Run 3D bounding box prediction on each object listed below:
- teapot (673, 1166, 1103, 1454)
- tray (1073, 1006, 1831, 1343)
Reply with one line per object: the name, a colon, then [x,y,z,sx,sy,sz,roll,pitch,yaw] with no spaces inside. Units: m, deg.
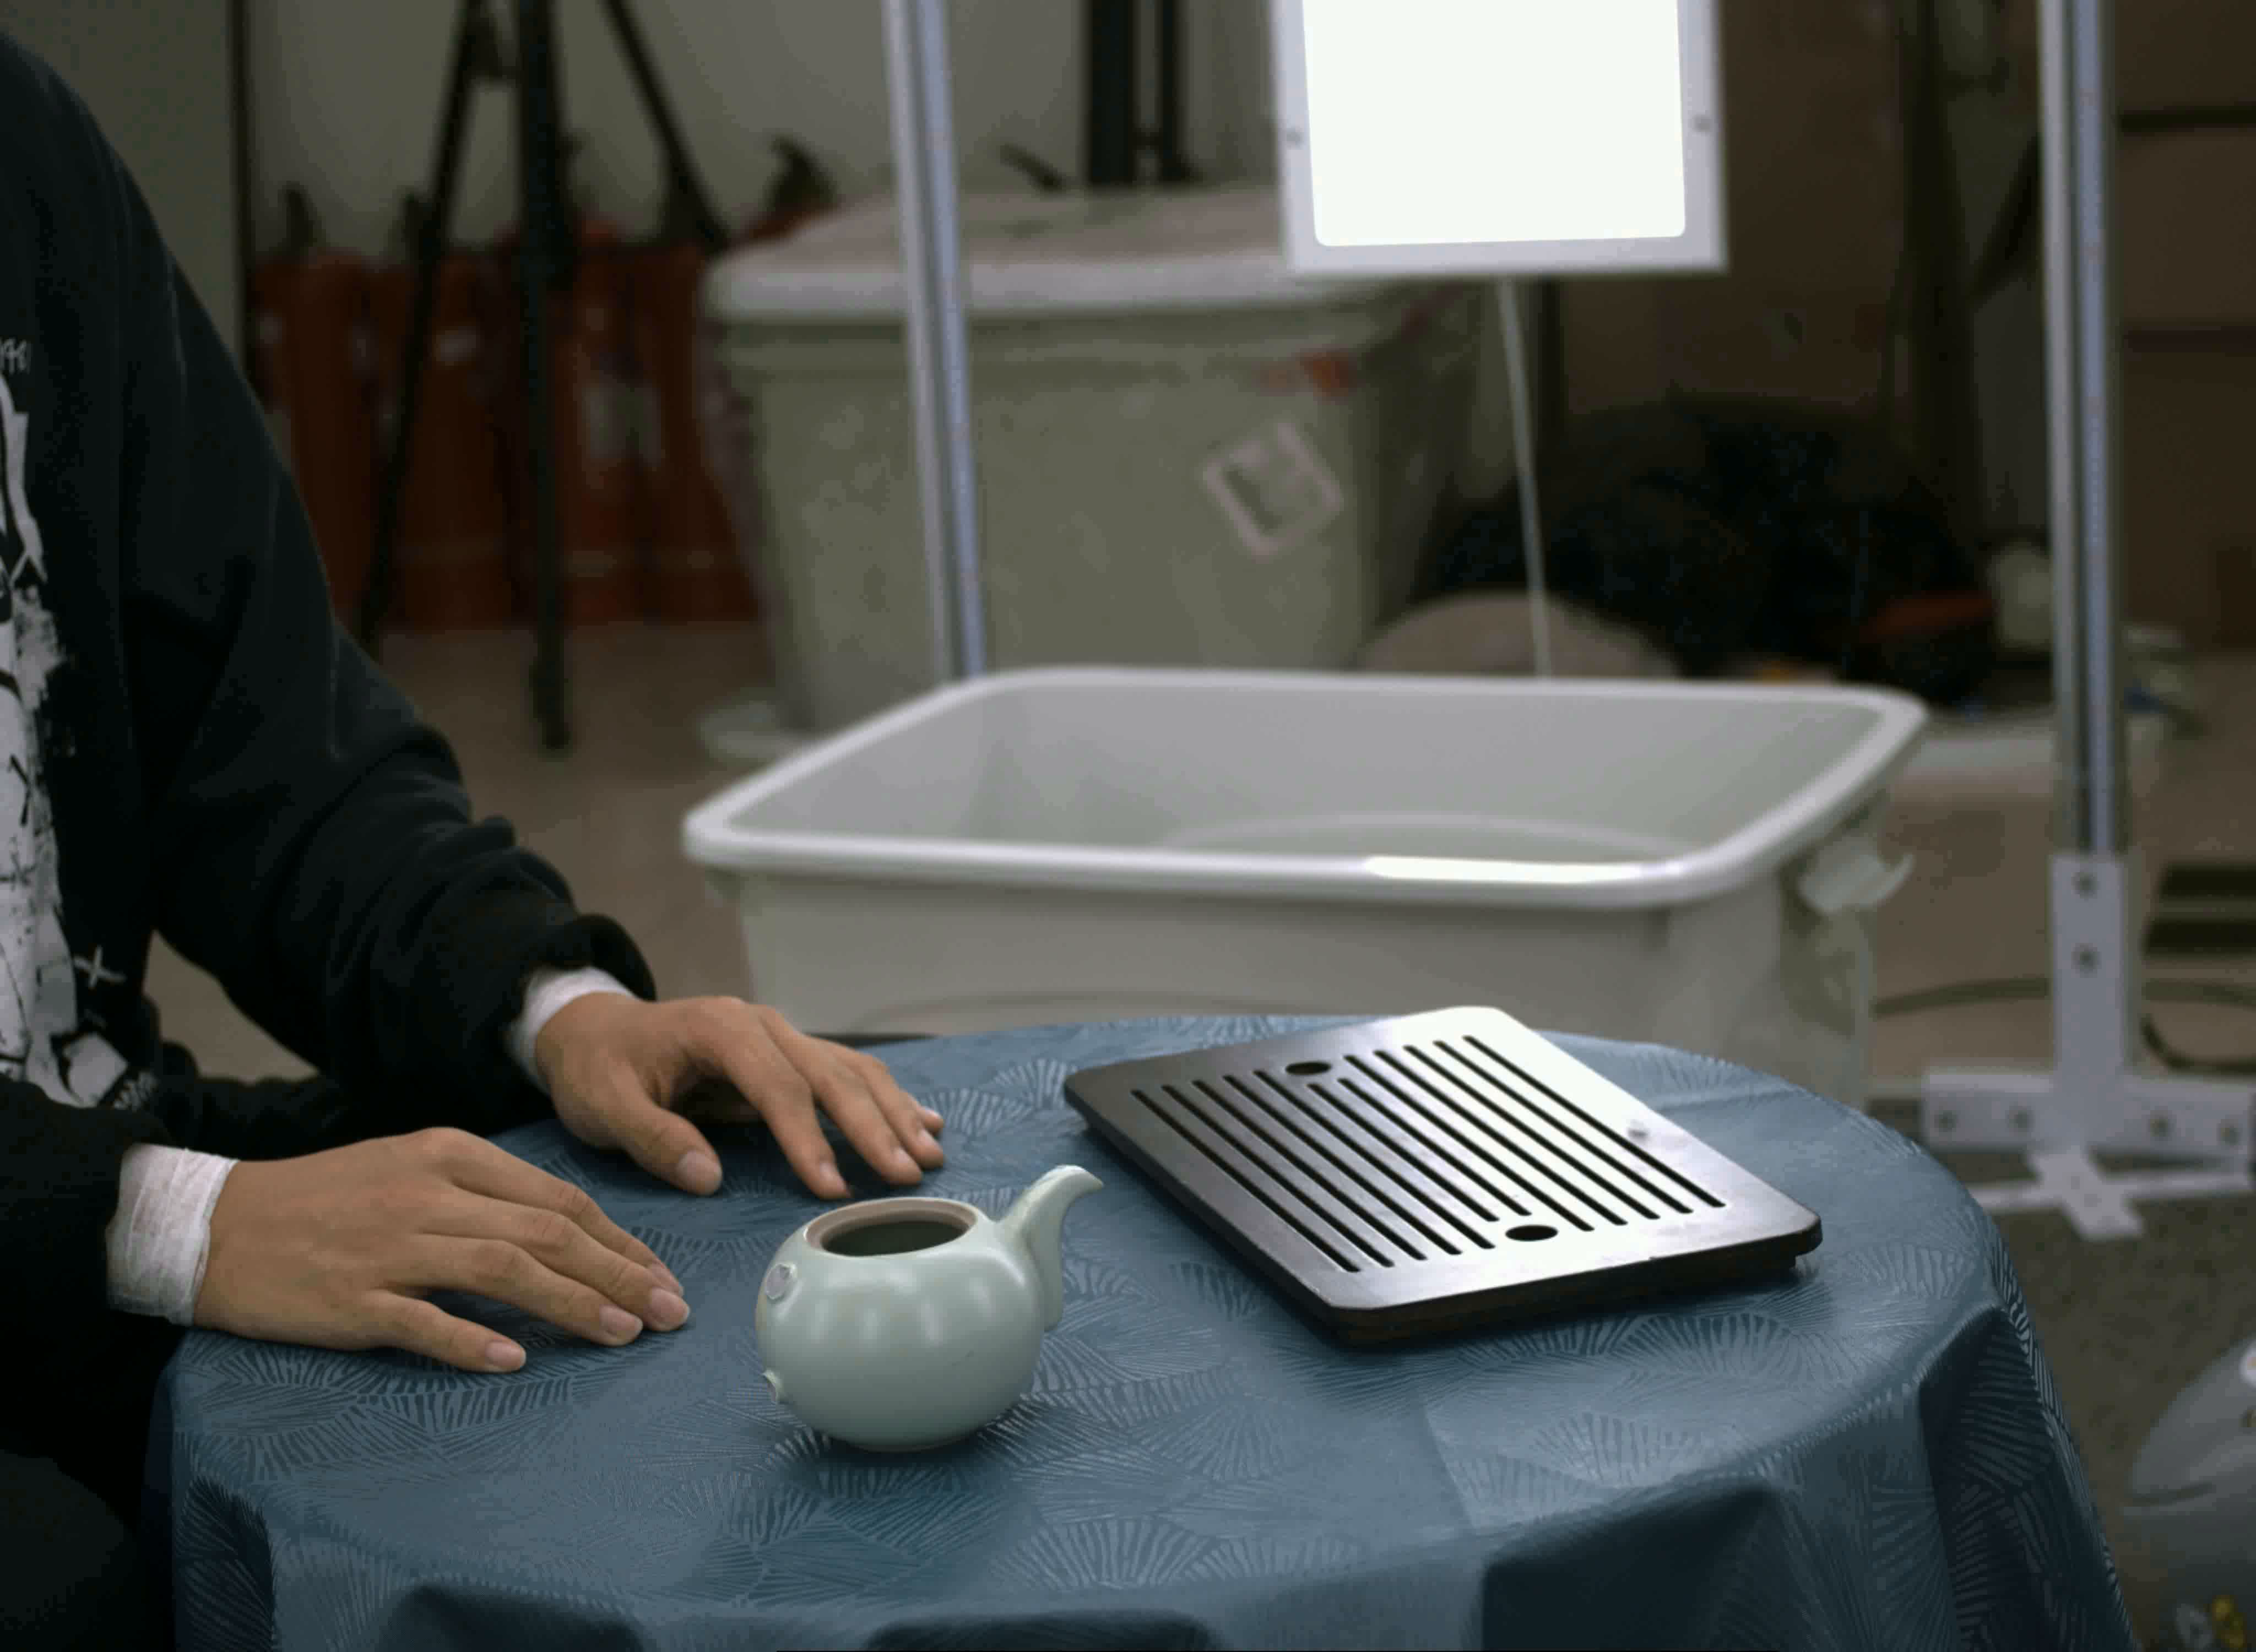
teapot: [-0.070,0.150,1.678,0.141,0.075,0.089,-9,14,-22]
tray: [0.104,0.115,1.870,0.167,0.019,0.309,-9,14,-15]
